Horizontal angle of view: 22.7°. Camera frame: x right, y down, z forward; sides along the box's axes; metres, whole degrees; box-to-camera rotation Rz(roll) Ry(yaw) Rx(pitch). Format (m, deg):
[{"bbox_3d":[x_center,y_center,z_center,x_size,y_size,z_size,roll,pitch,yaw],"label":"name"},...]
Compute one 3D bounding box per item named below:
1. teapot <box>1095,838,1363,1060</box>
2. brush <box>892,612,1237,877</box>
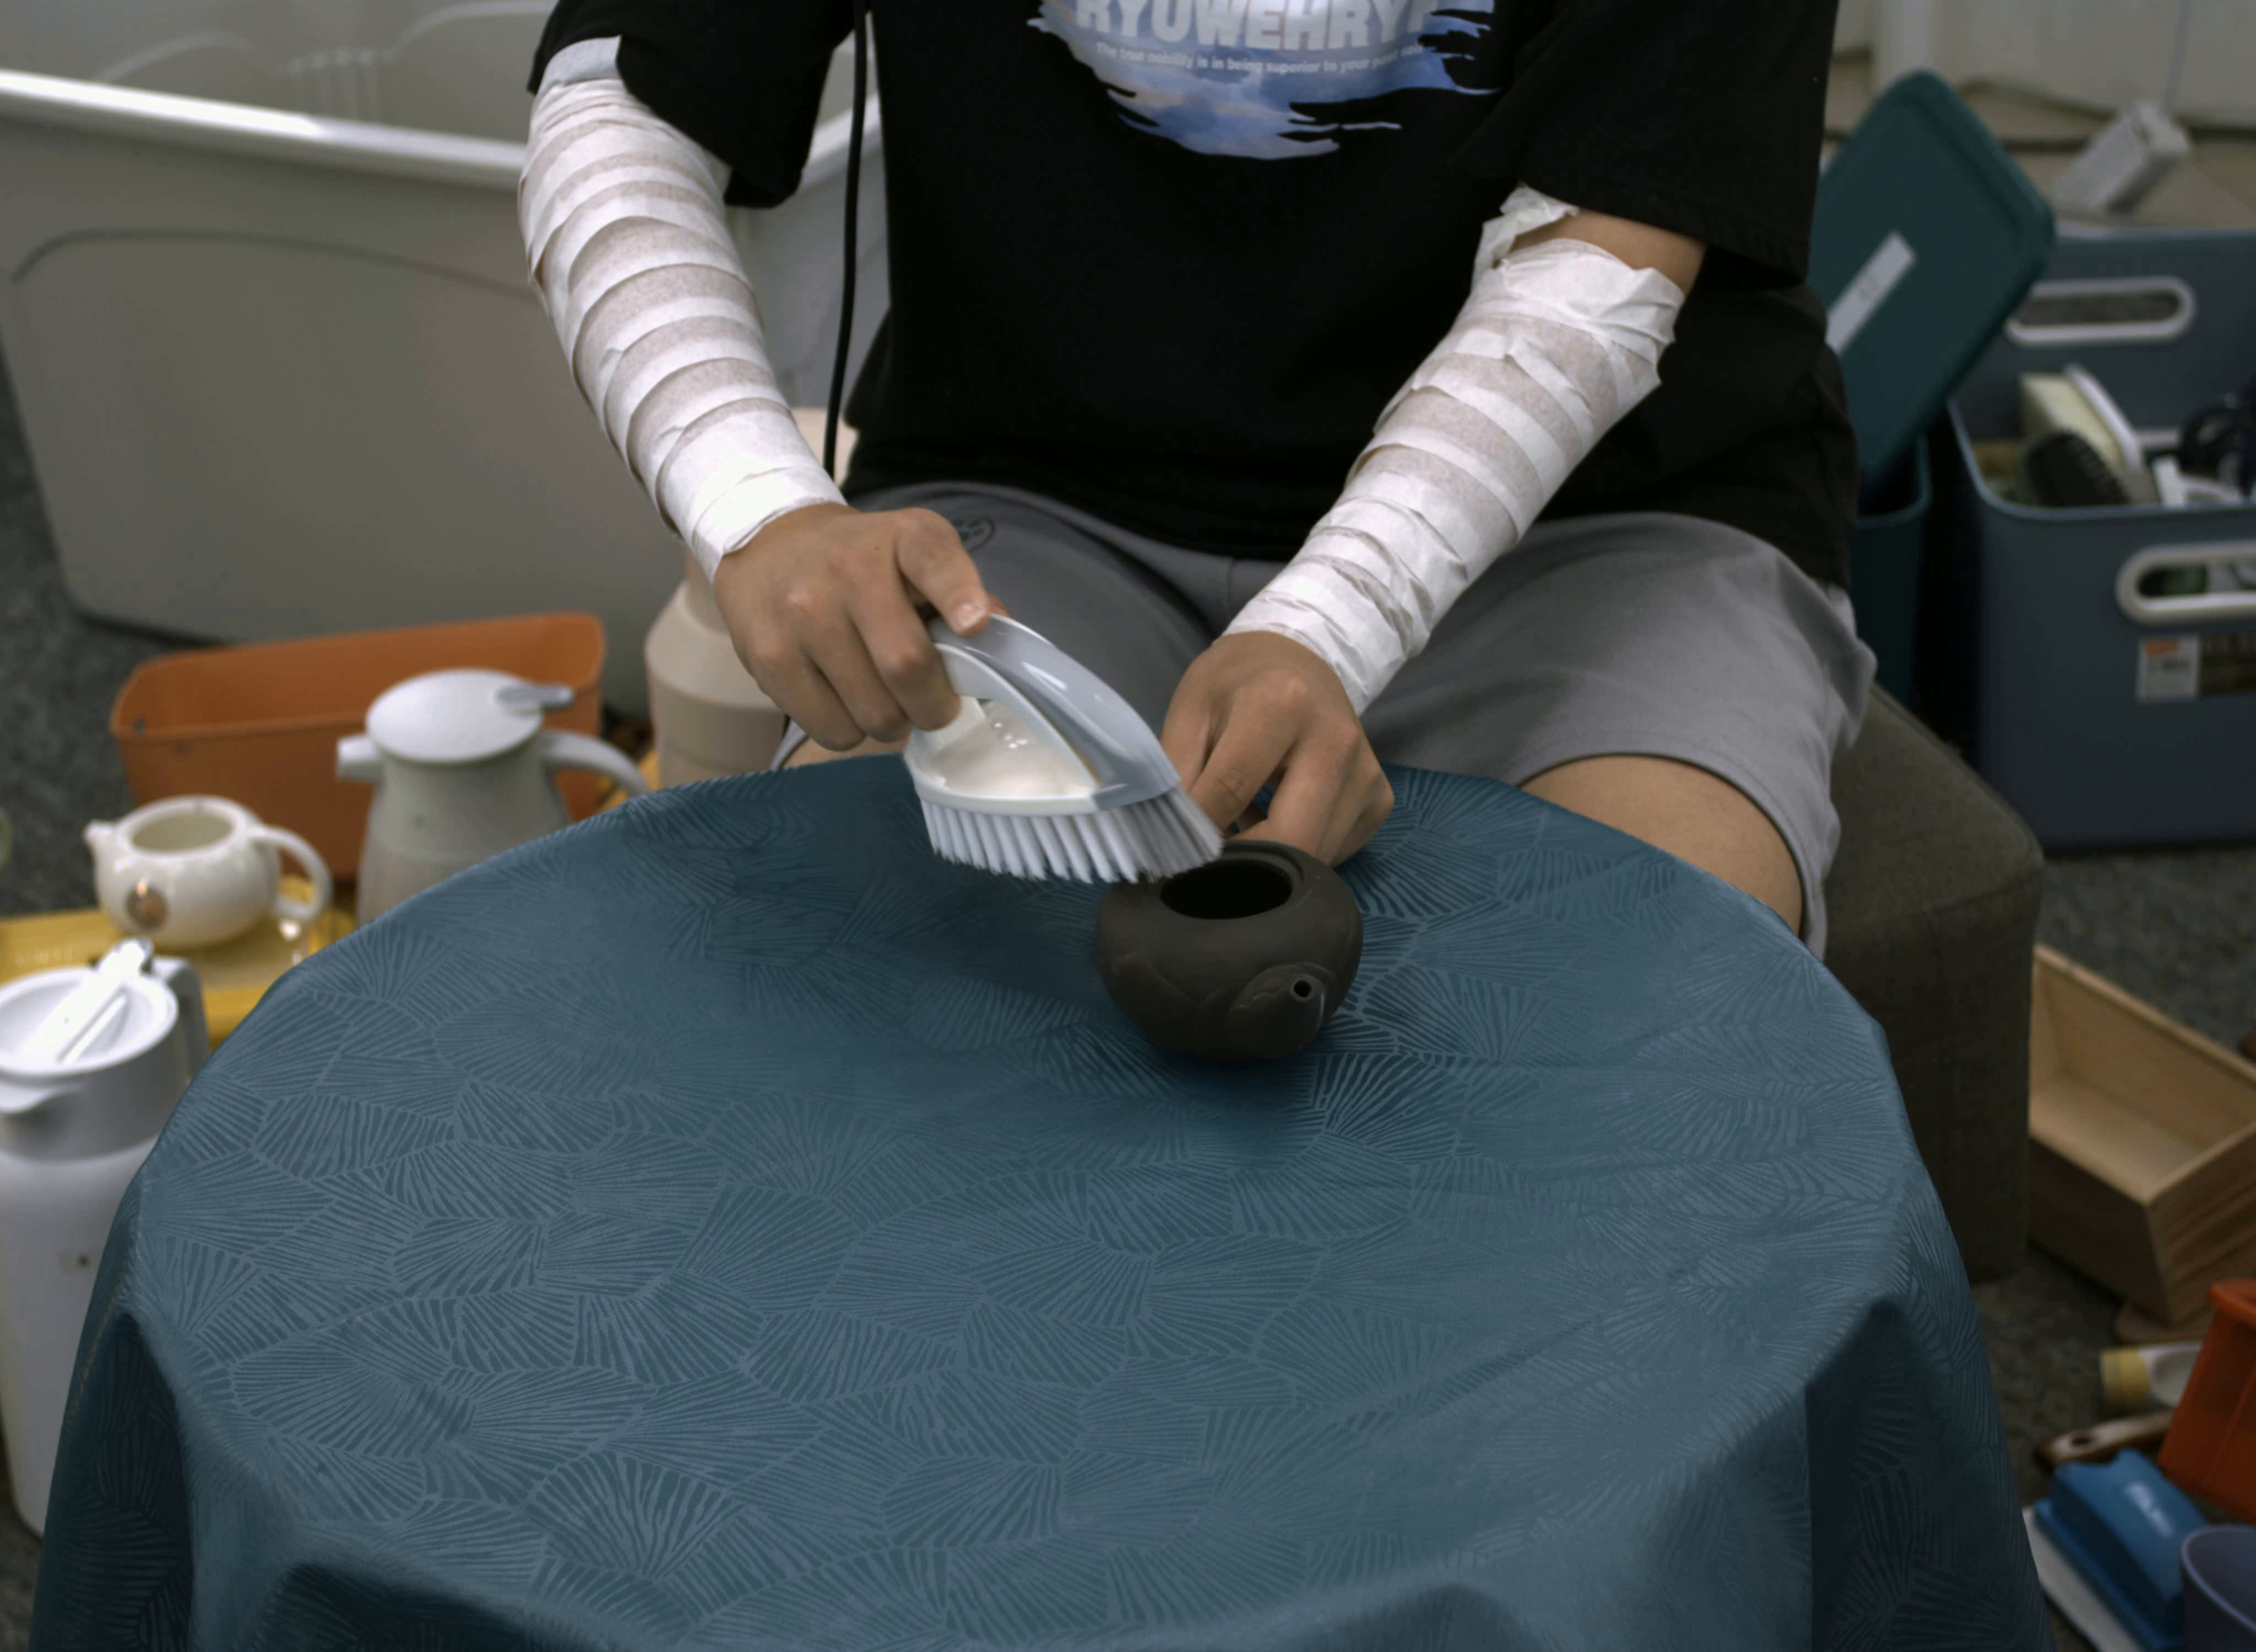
[{"bbox_3d":[0.034,0.040,1.946,0.092,0.063,0.155,-11,30,-16],"label":"teapot"},{"bbox_3d":[-0.027,-0.032,1.966,0.062,0.093,0.175,-39,23,-20],"label":"brush"}]
